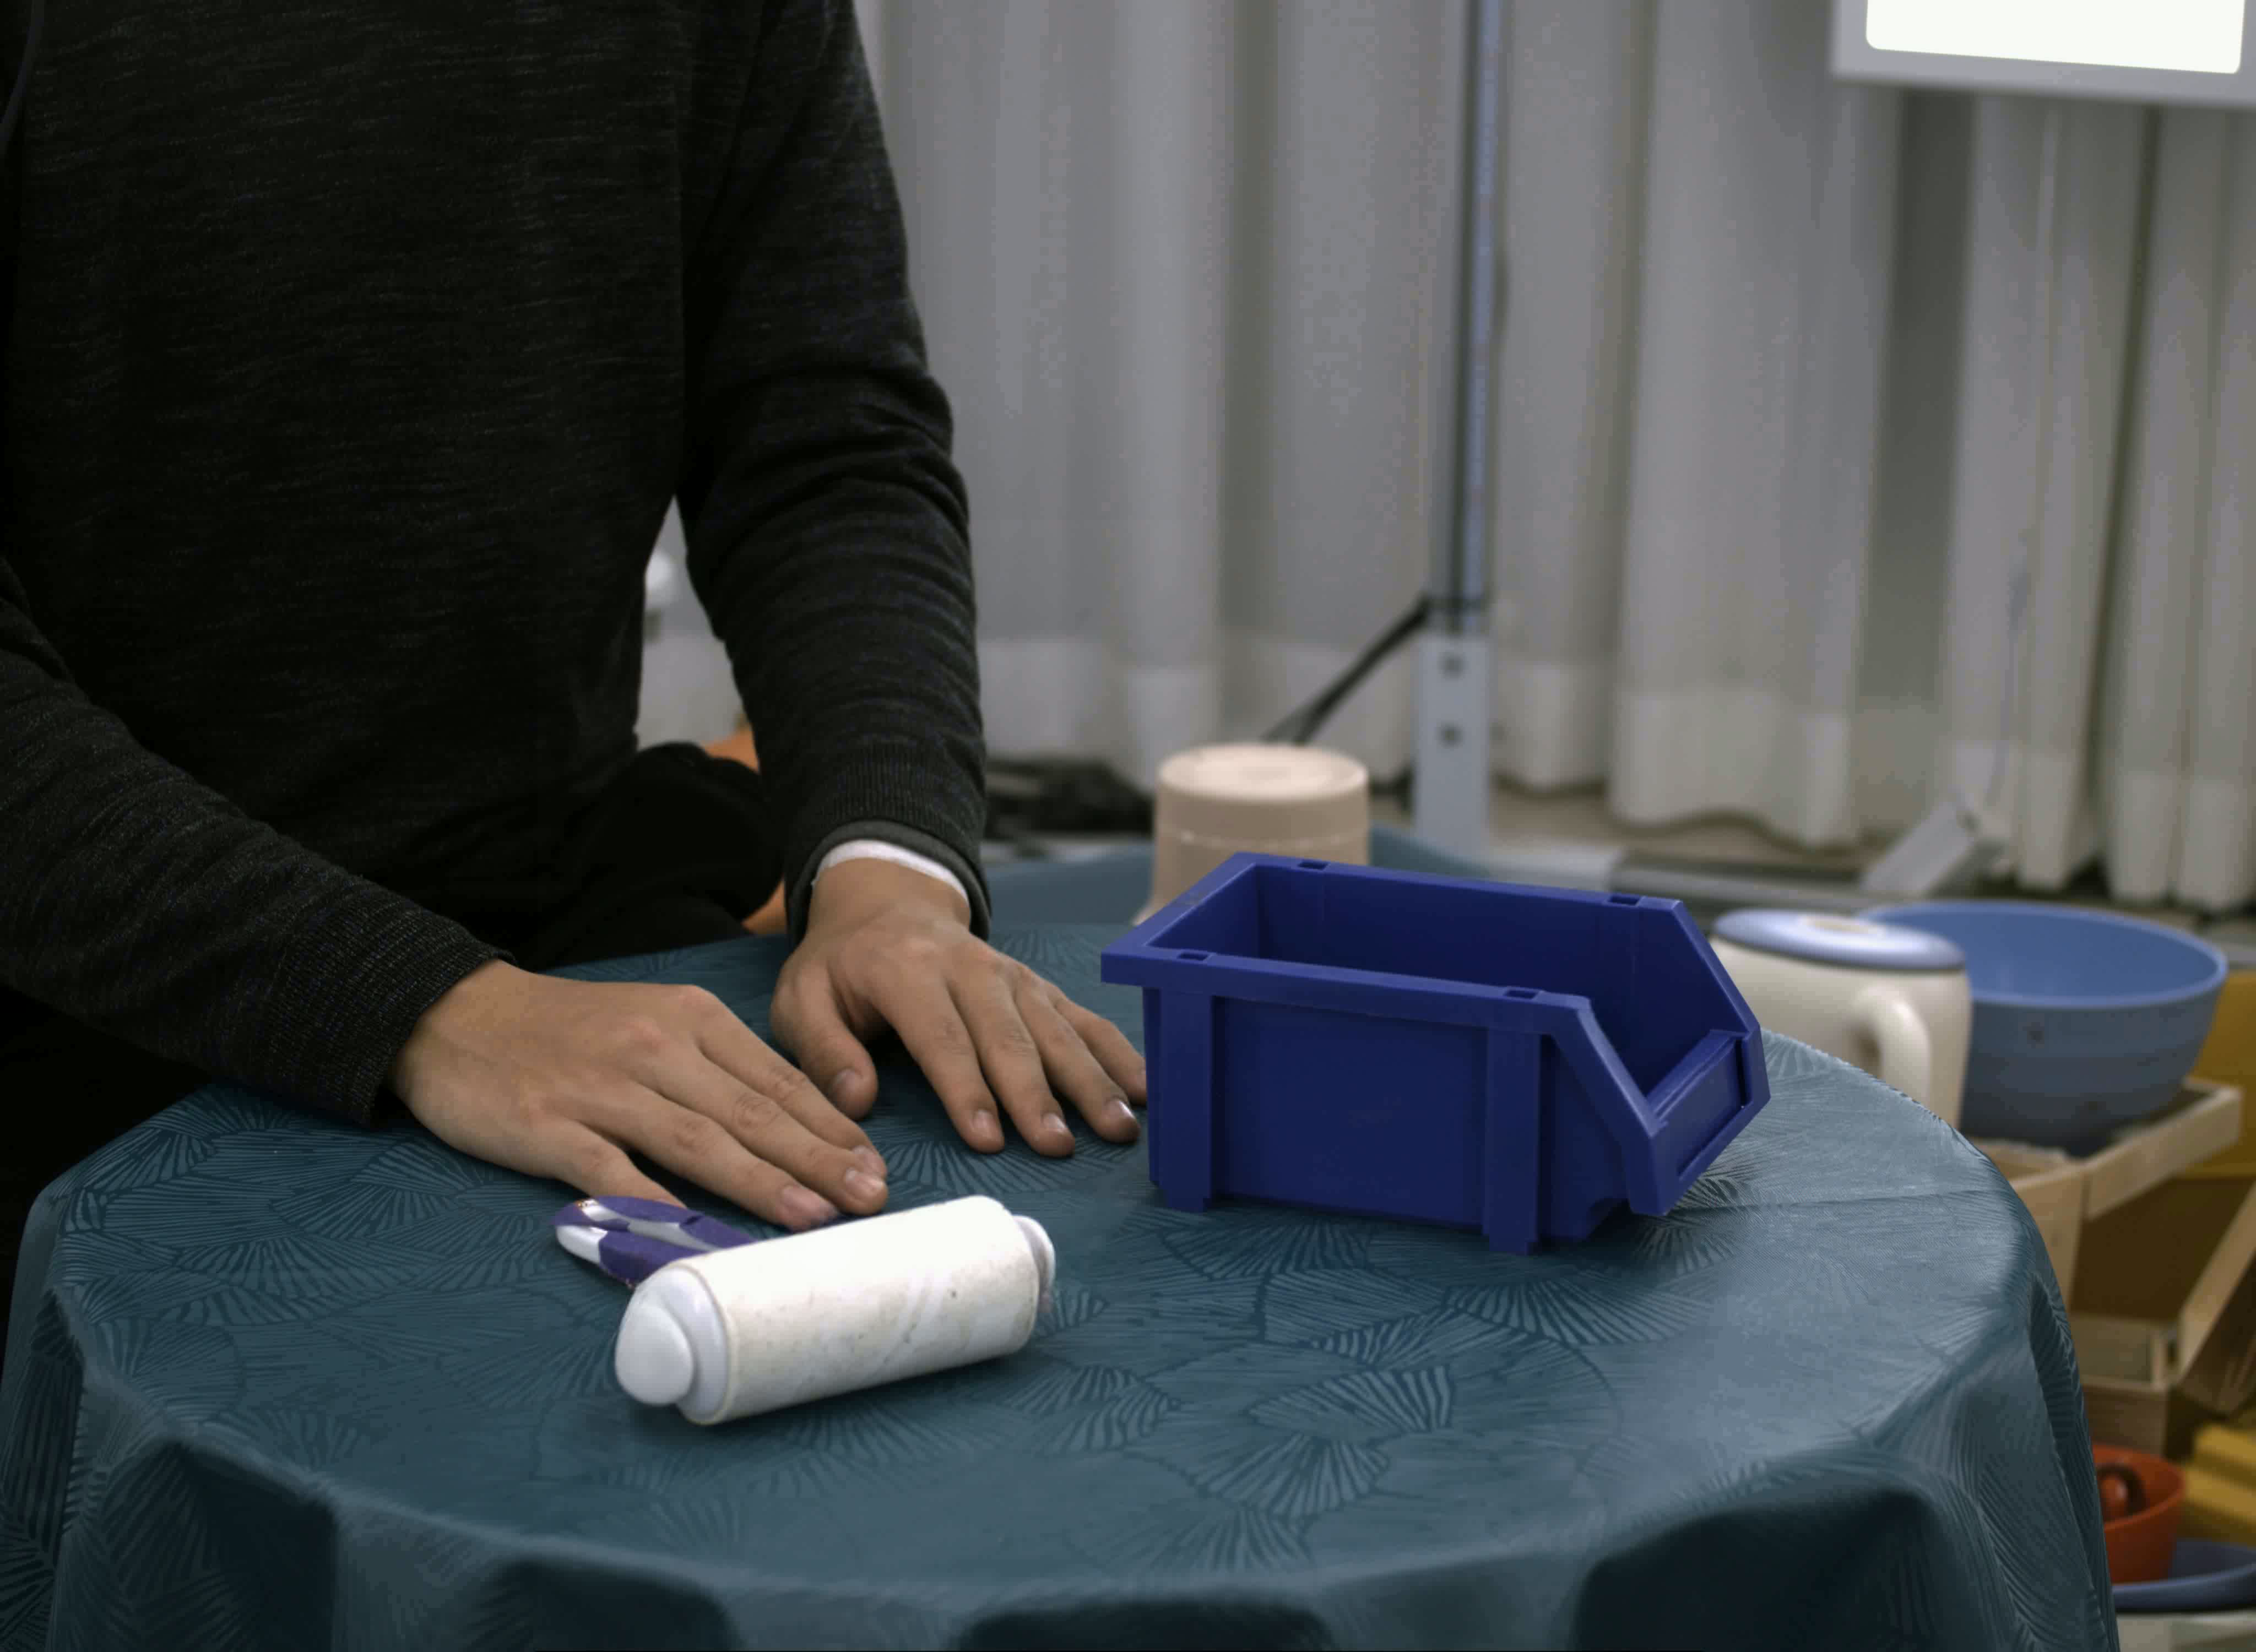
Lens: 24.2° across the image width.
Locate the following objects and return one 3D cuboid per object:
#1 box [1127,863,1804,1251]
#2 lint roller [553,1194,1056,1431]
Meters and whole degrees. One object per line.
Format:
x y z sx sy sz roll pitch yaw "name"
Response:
0.107 0.070 1.625 0.177 0.082 0.124 4 15 22 "box"
-0.114 0.118 1.507 0.133 0.050 0.178 -11 21 -31 "lint roller"
